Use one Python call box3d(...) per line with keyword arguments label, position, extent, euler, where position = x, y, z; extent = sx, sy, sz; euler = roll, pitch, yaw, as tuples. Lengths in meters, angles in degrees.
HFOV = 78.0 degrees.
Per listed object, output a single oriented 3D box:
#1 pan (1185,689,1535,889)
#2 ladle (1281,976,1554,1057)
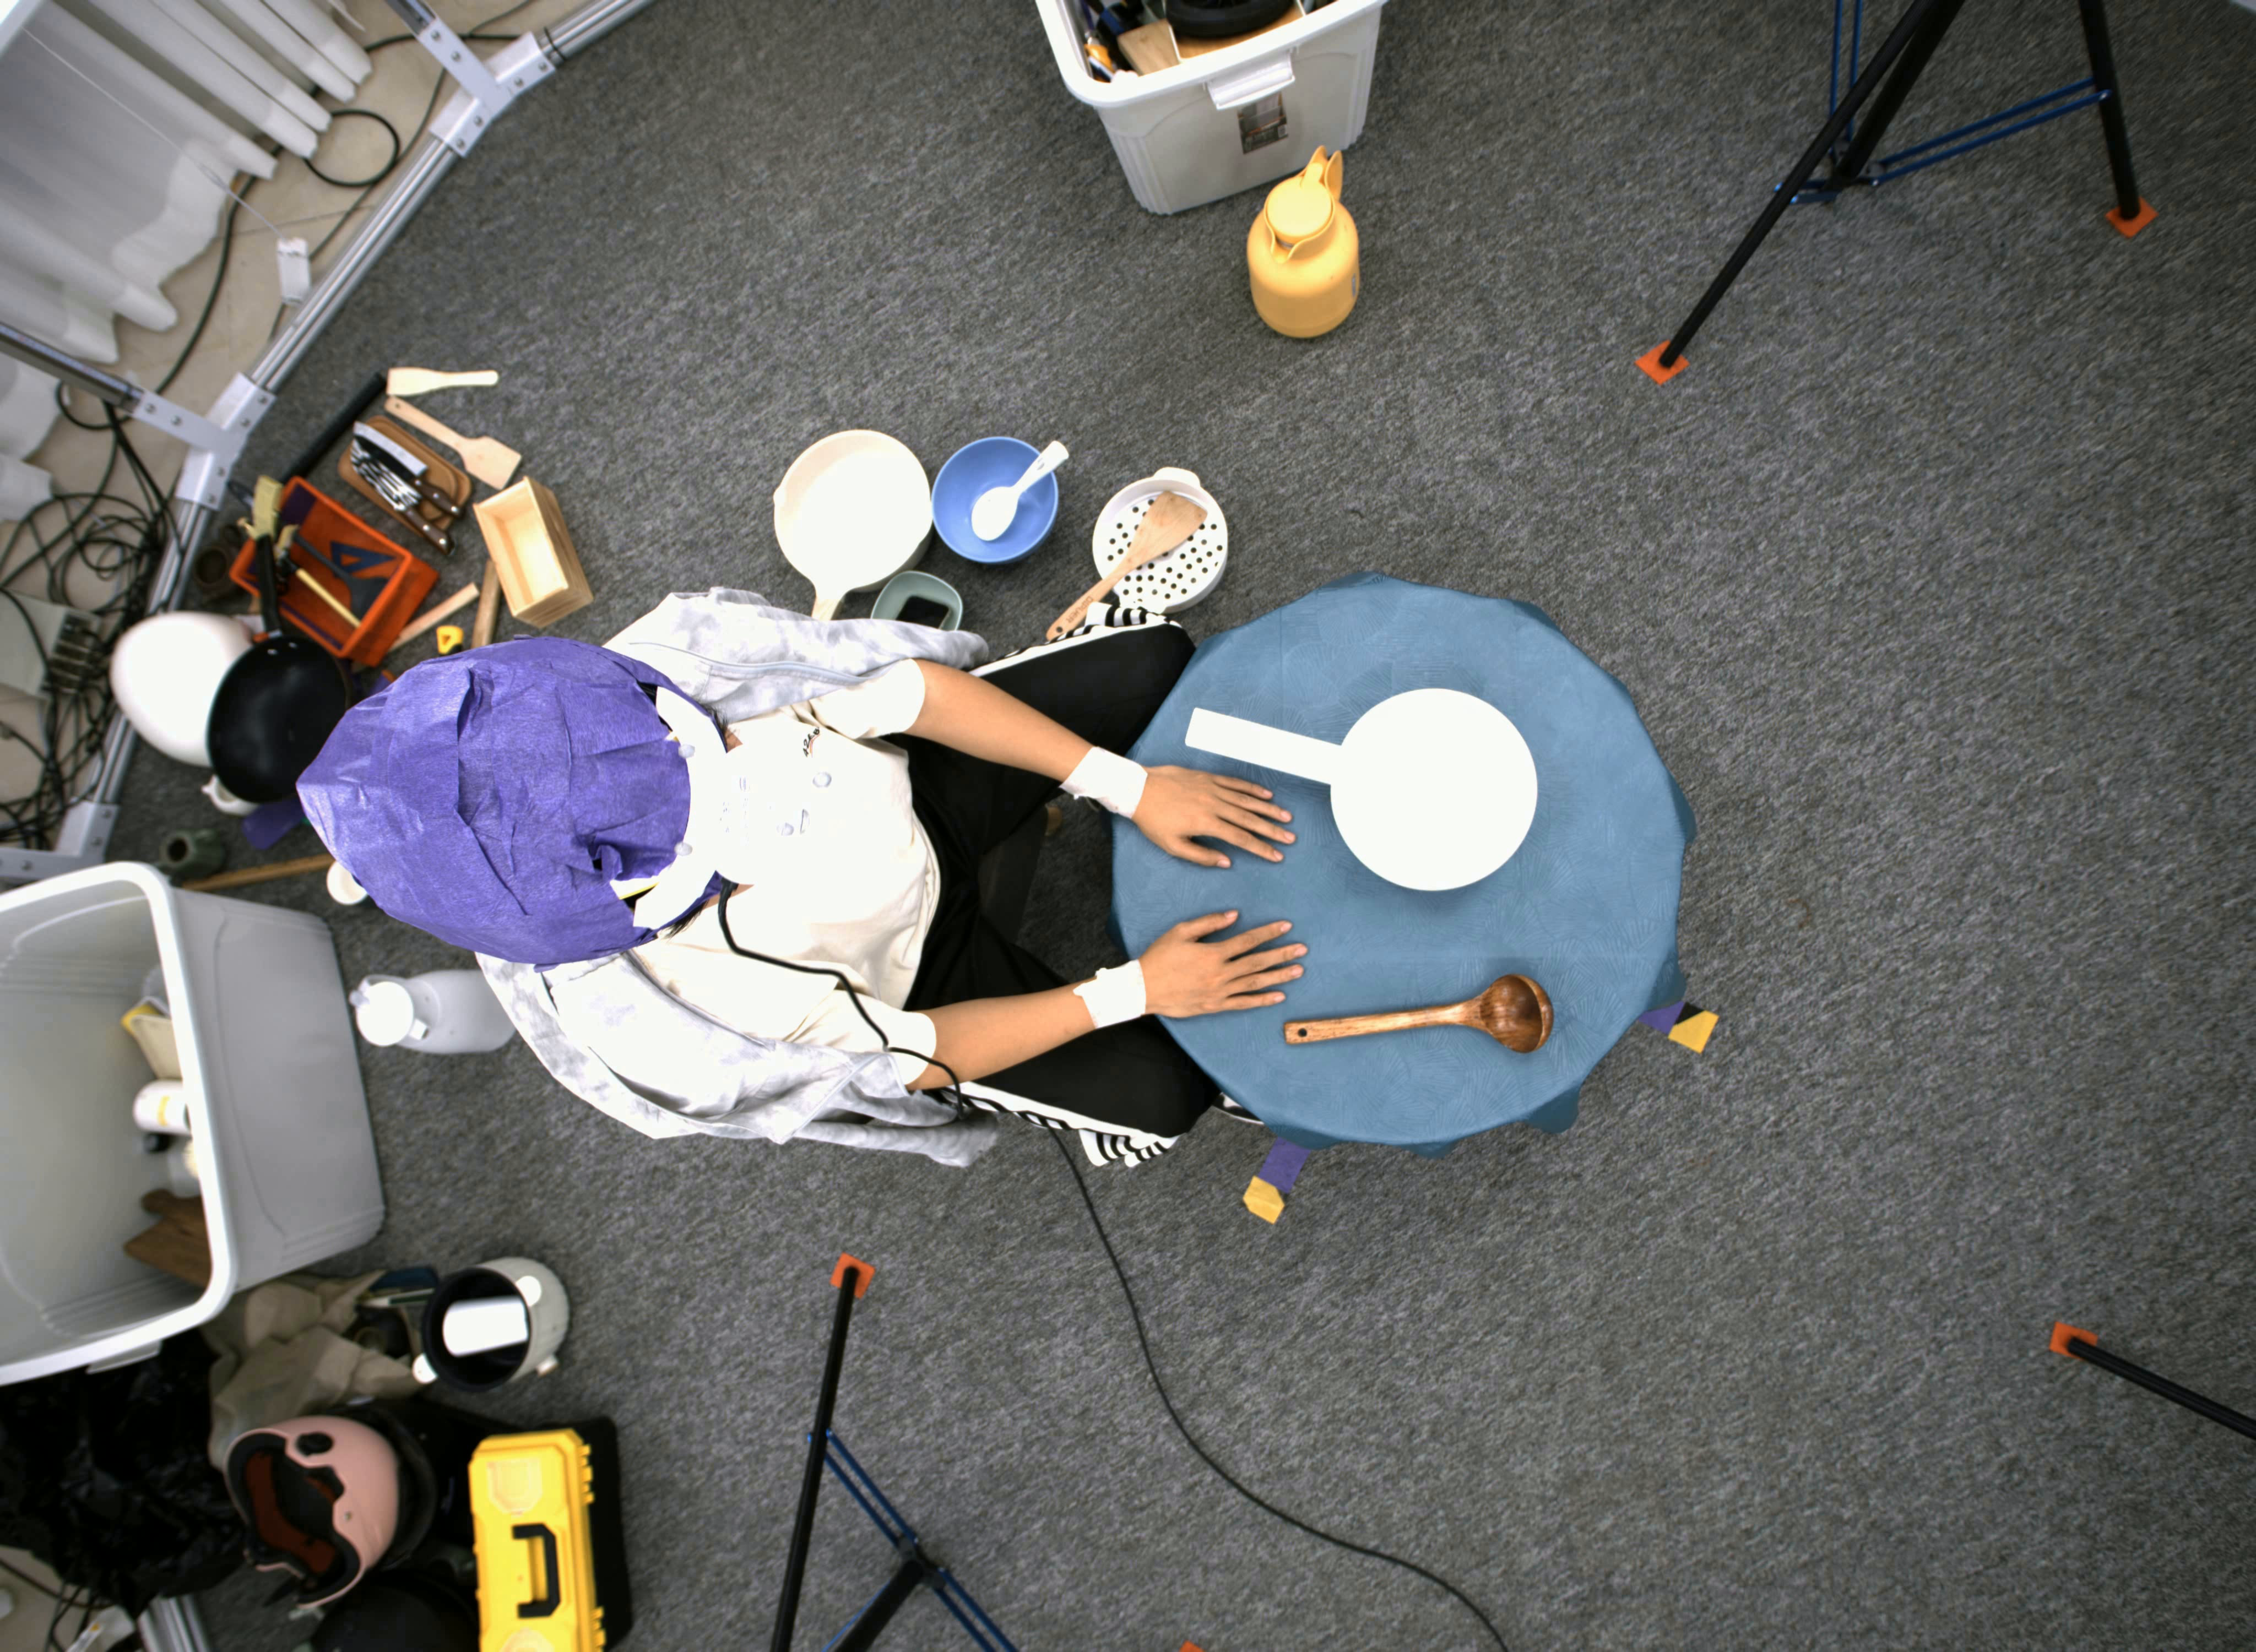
box3d(label="pan", position=(0.236, -0.055, 1.423), extent=(0.355, 0.102, 0.201), euler=(16, 91, 12))
box3d(label="ladle", position=(0.292, 0.198, 1.407), extent=(0.275, 0.076, 0.081), euler=(-5, 87, 9))
